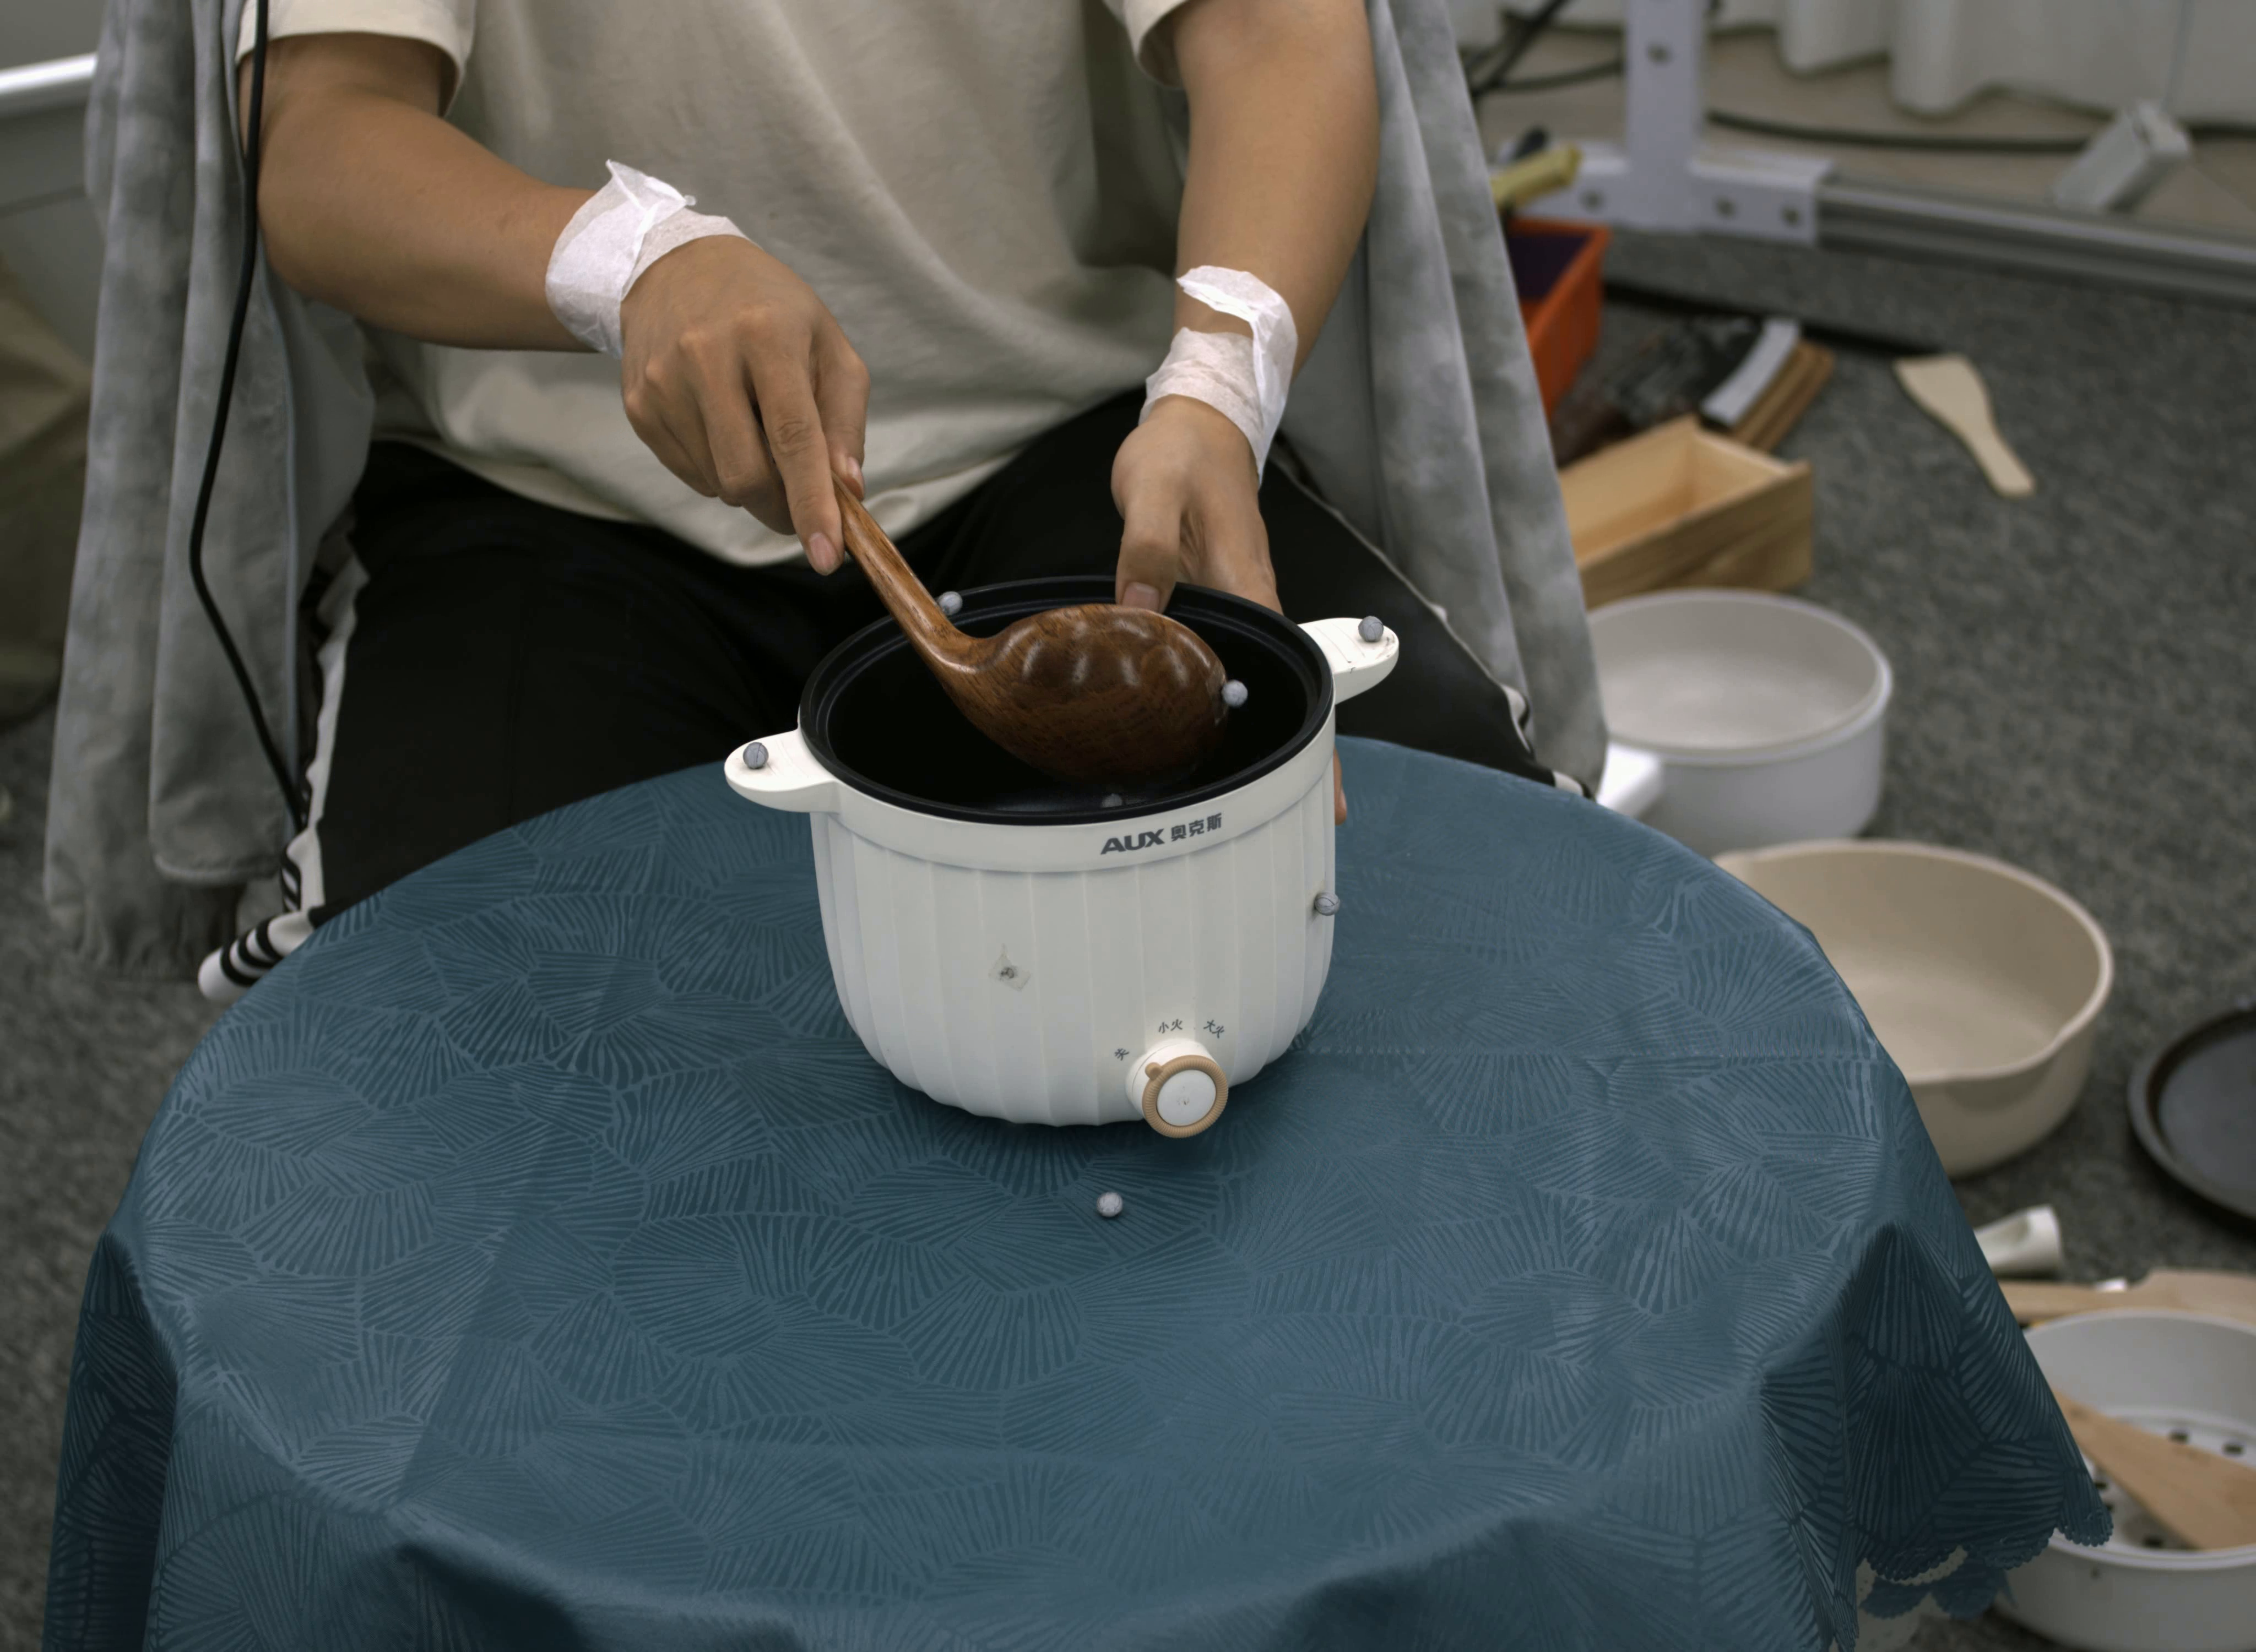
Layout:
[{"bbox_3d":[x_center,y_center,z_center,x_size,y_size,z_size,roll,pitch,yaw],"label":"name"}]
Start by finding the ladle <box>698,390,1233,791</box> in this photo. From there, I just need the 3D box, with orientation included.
[{"bbox_3d":[-0.057,-0.097,1.926,0.077,0.081,0.276,-28,42,-14],"label":"ladle"}]

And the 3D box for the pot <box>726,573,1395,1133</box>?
[{"bbox_3d":[-0.014,0.015,1.919,0.241,0.141,0.191,-14,25,-17],"label":"pot"}]
